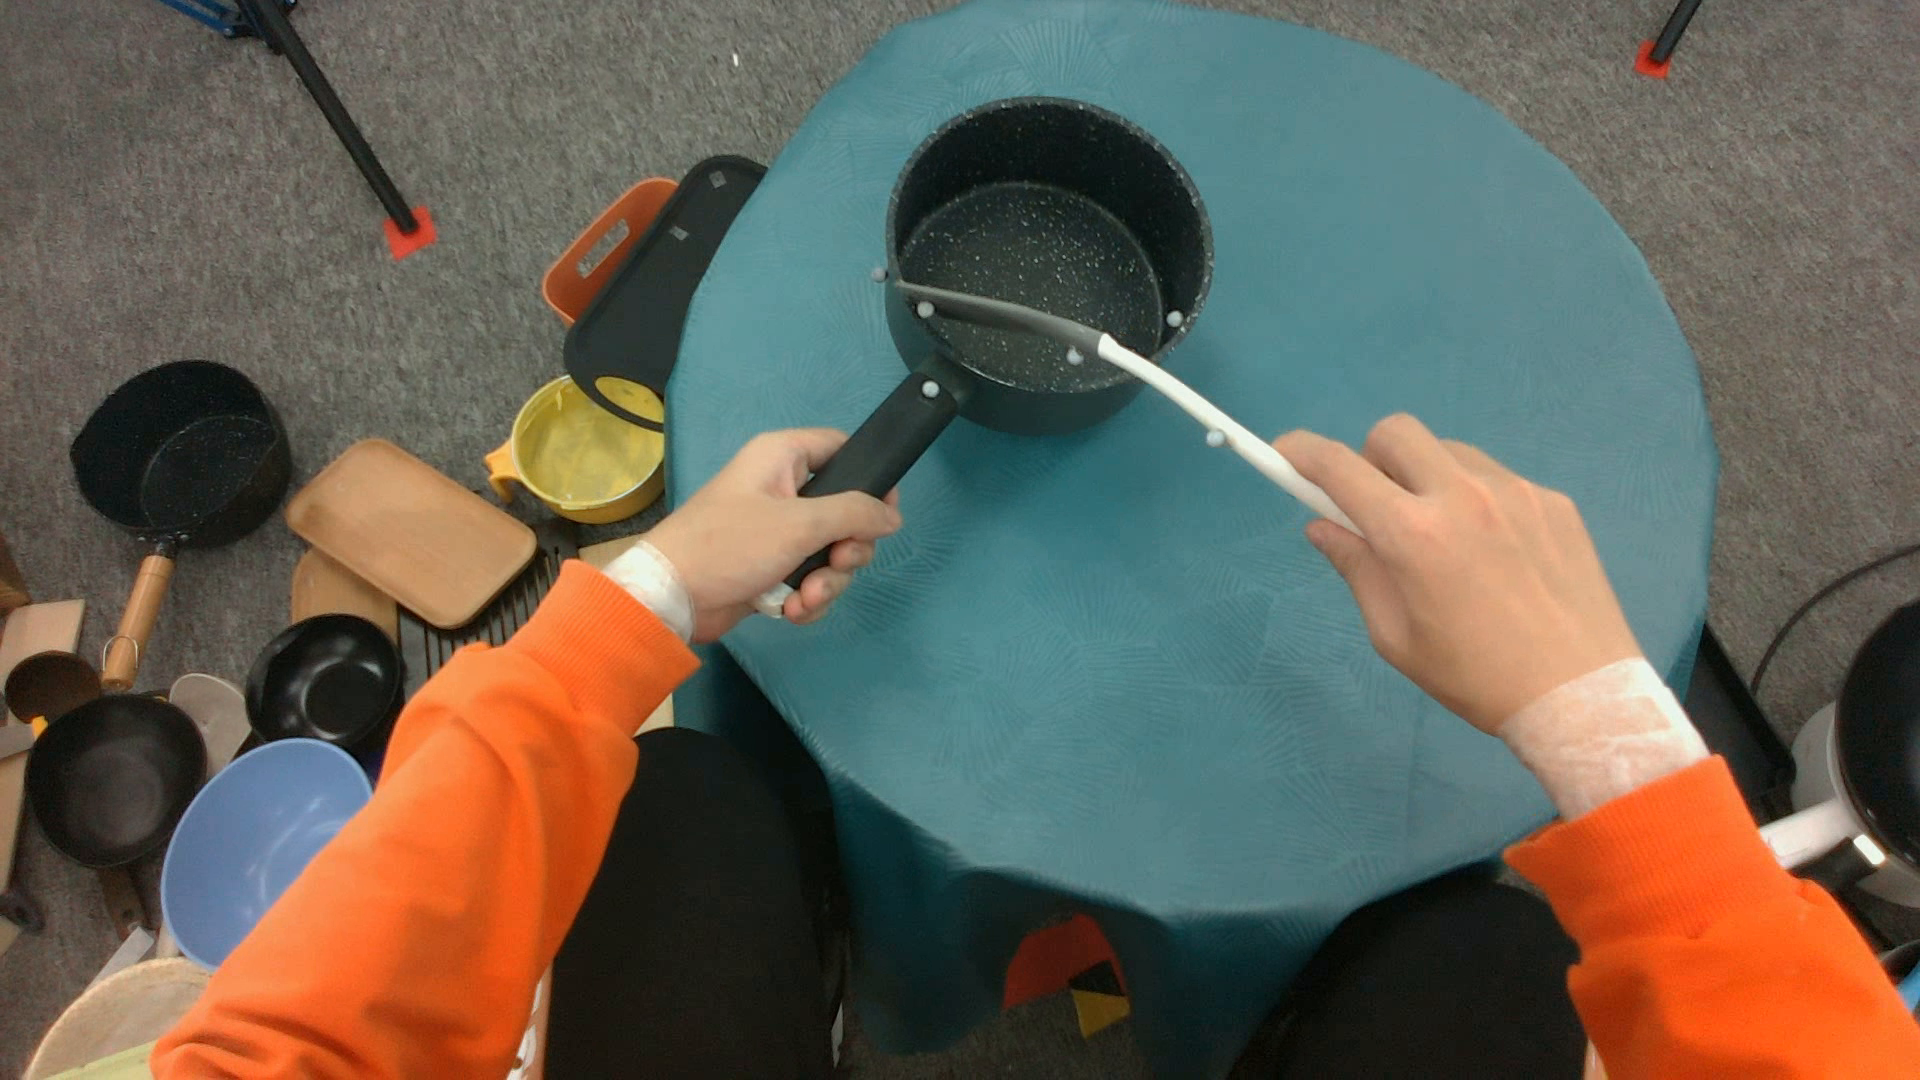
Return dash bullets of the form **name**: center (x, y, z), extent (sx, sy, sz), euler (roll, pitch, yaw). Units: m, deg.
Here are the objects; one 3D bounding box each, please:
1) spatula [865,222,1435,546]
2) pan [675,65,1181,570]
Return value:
- **spatula**: center (0.078, -0.081, 0.627), extent (0.287, 0.058, 0.032), euler (32, 88, 21)
- **pan**: center (-0.022, -0.101, 0.708), extent (0.172, 0.086, 0.330), euler (38, 69, 5)
